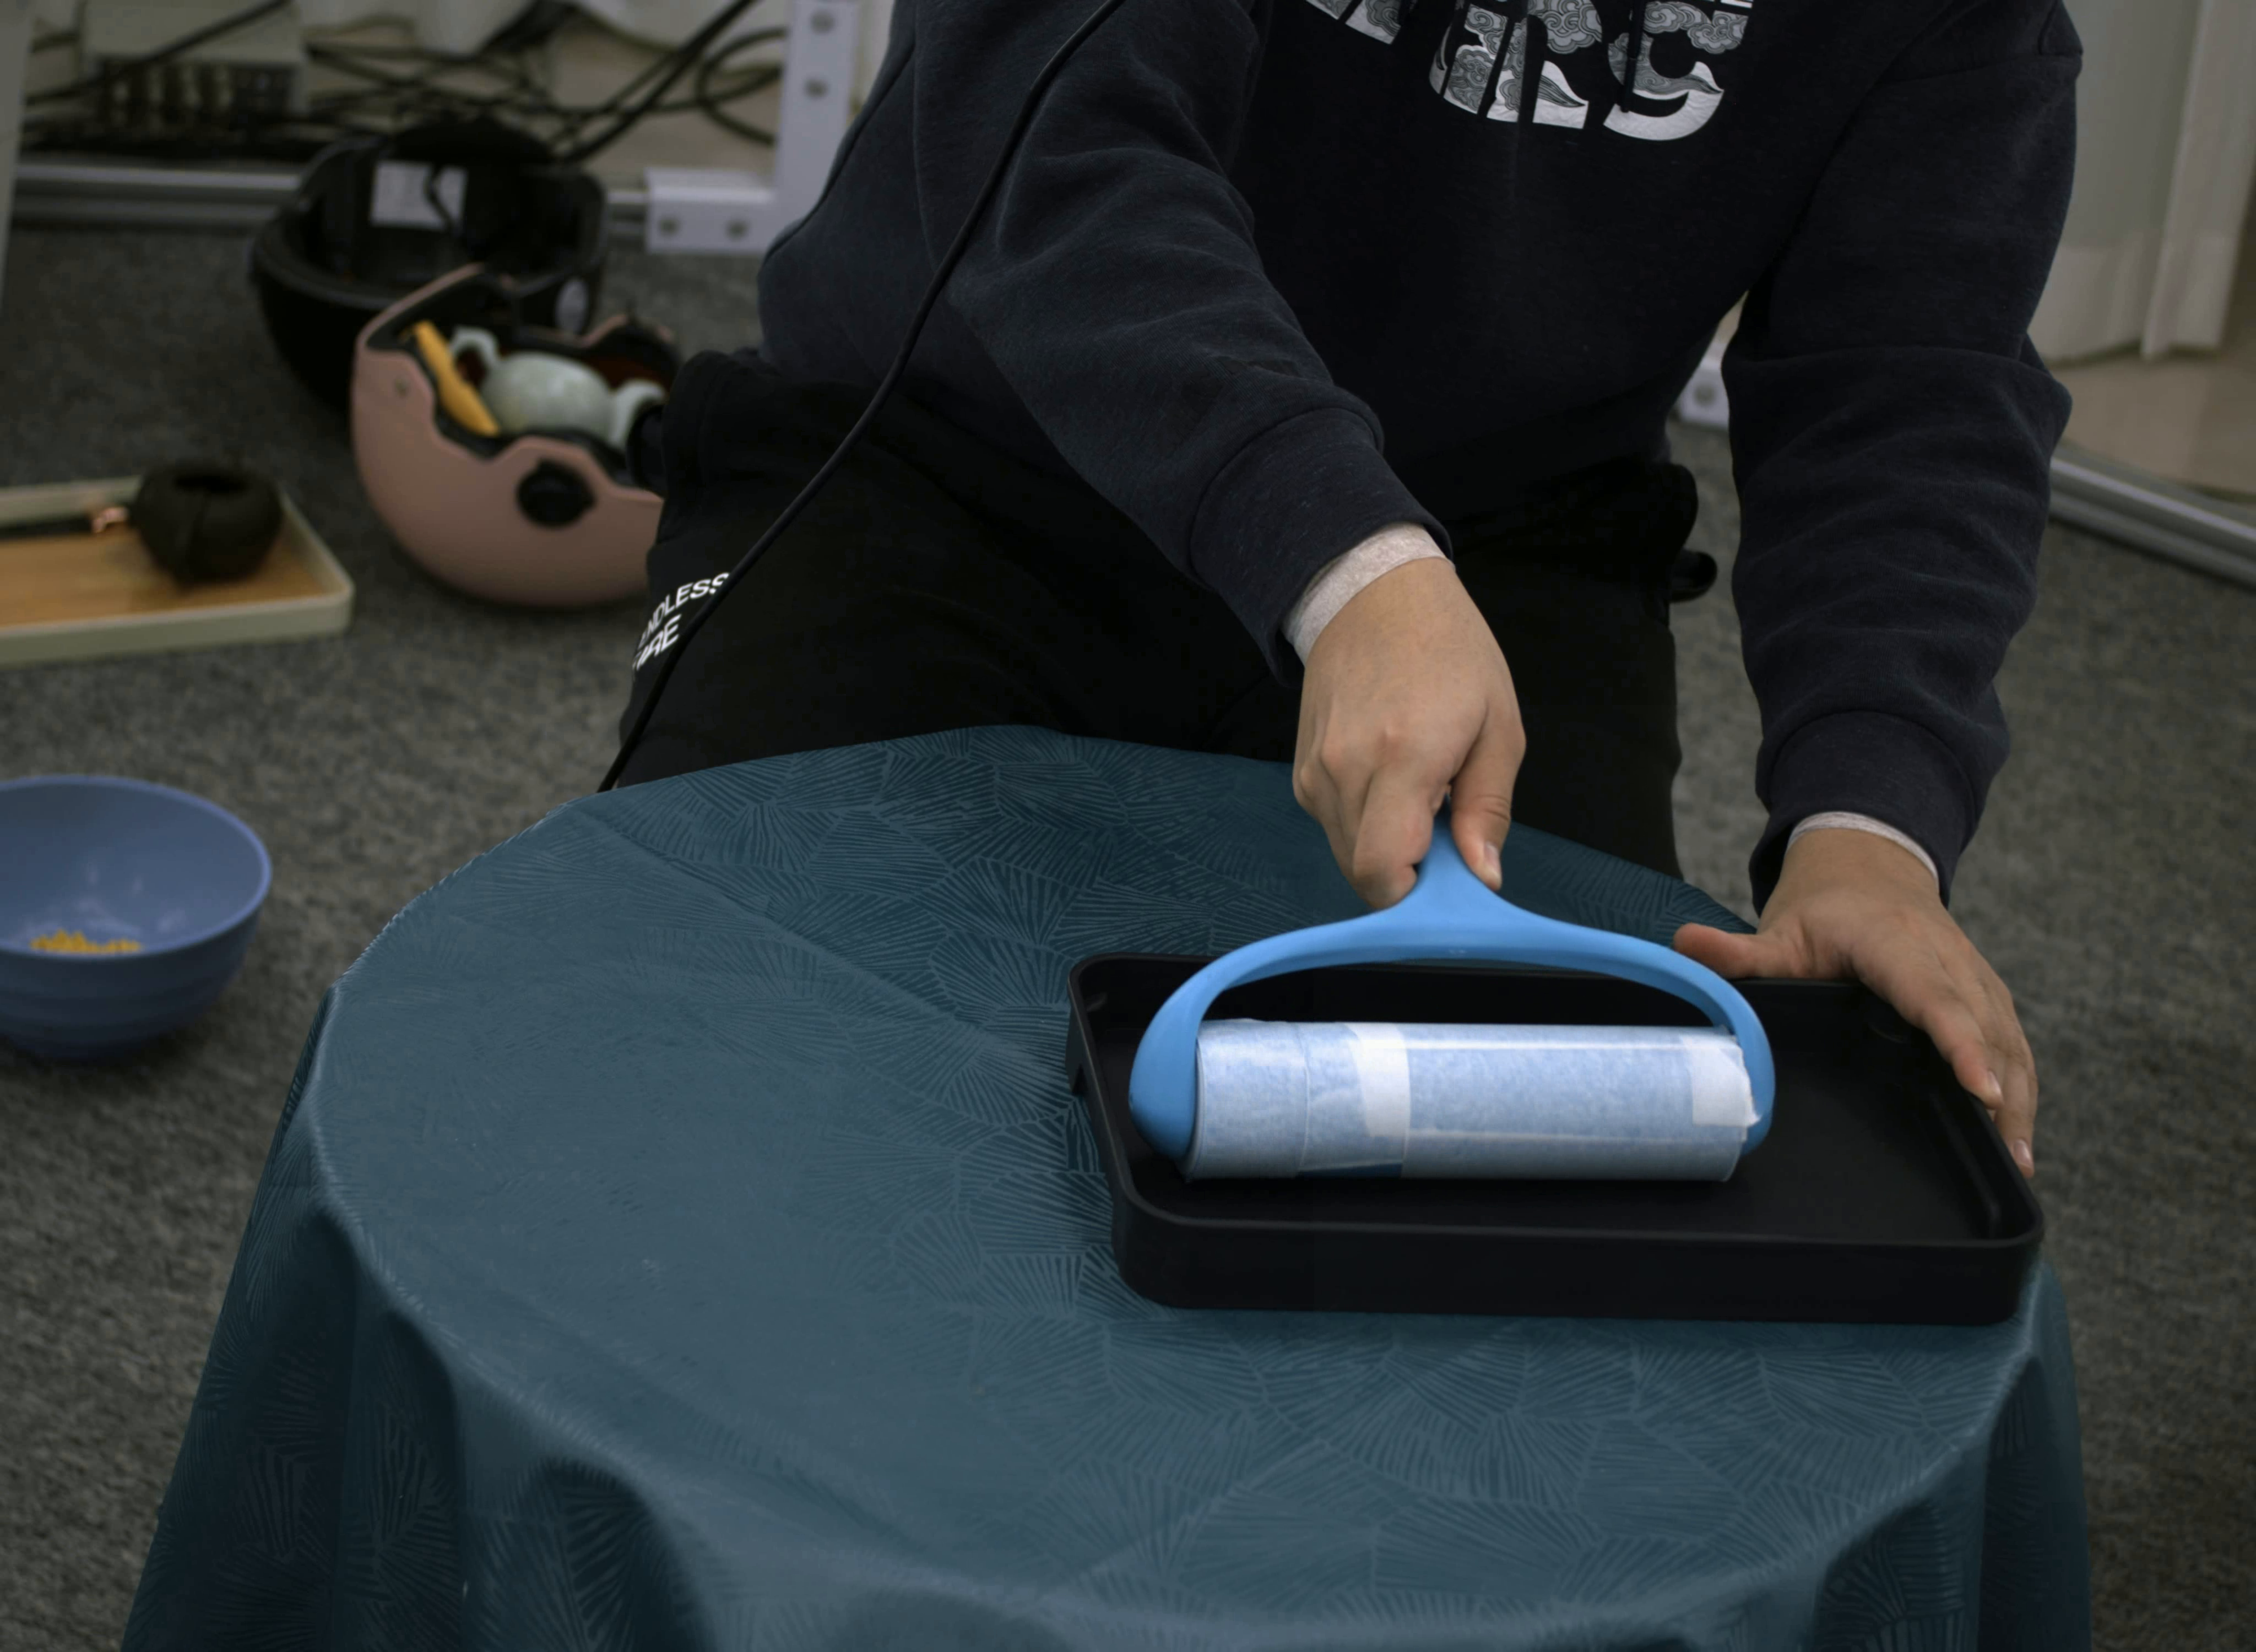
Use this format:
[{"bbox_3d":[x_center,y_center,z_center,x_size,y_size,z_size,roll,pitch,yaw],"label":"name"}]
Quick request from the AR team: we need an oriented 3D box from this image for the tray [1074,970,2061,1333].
[{"bbox_3d":[0.146,0.110,1.836,0.316,0.037,0.186,0,27,-9],"label":"tray"}]

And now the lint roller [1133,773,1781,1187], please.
[{"bbox_3d":[0.106,0.044,1.851,0.228,0.067,0.182,-2,59,-12],"label":"lint roller"}]
